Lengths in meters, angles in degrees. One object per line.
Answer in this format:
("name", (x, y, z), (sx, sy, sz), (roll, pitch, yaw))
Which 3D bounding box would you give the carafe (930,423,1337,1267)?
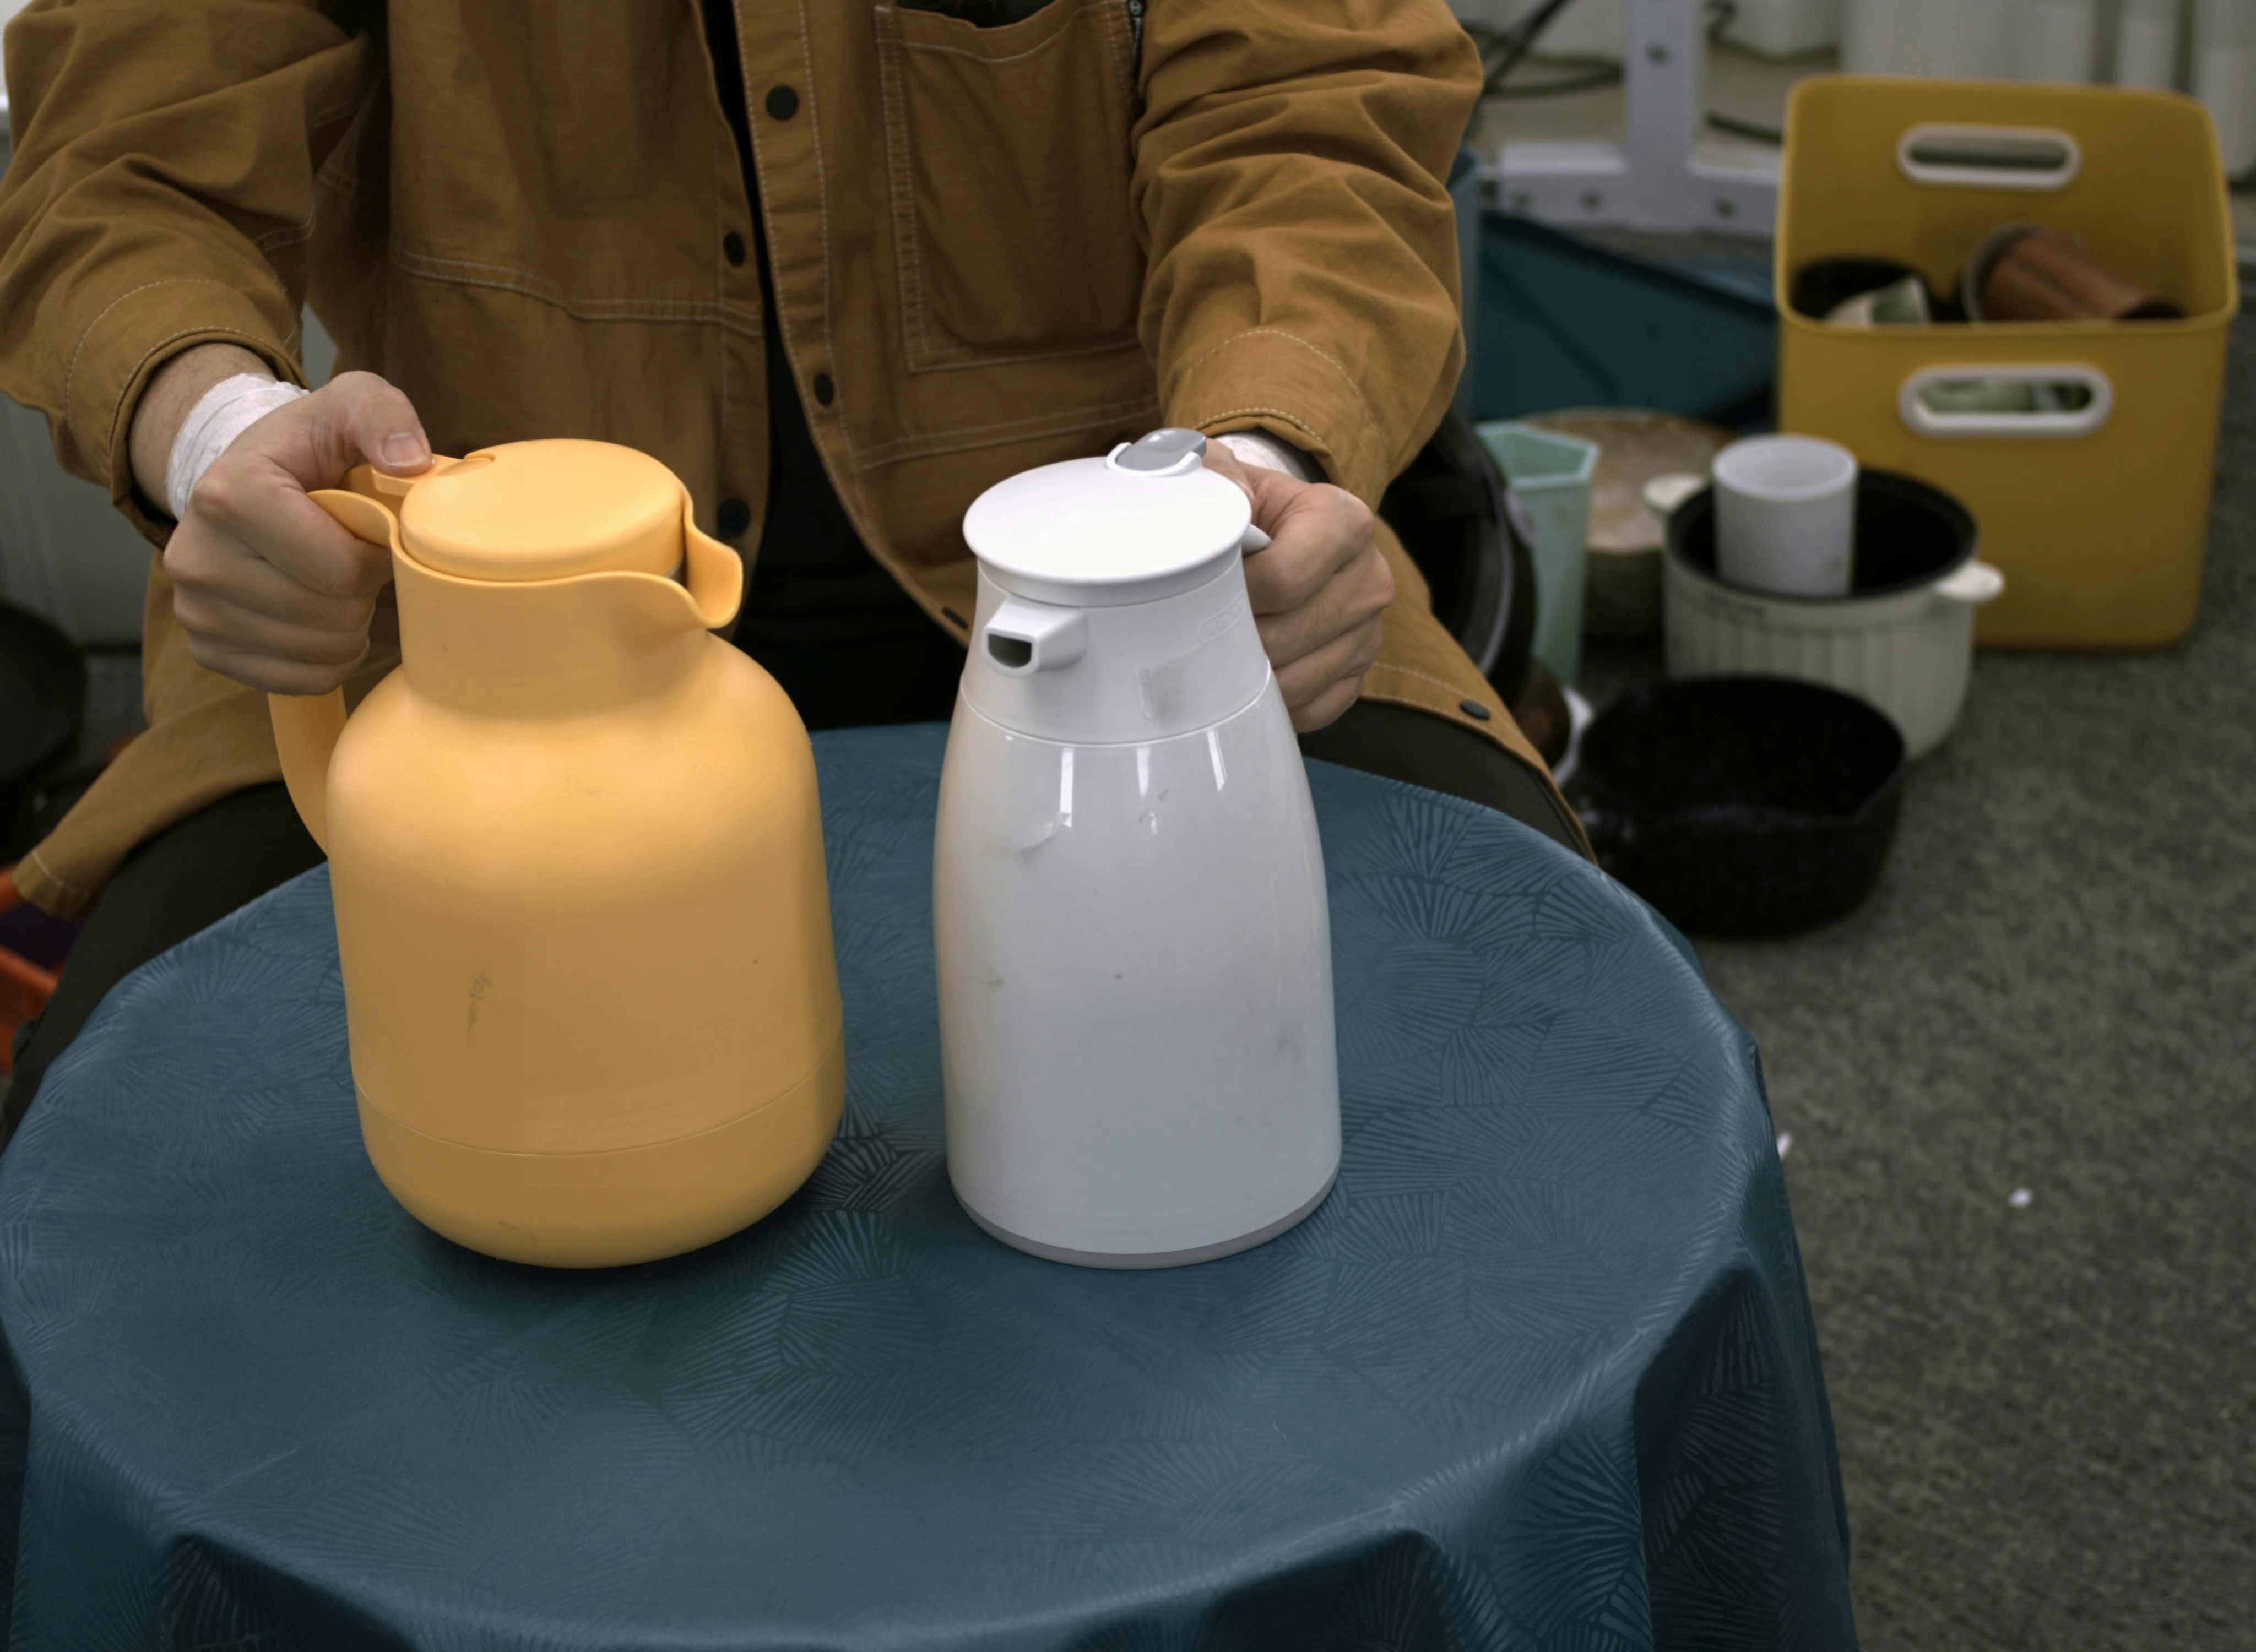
("carafe", (0.007, -0.005, 1.836), (0.132, 0.246, 0.170), (11, 29, 27))

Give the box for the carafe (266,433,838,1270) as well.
("carafe", (-0.194, -0.001, 1.837), (0.201, 0.258, 0.166), (17, 31, 33))
